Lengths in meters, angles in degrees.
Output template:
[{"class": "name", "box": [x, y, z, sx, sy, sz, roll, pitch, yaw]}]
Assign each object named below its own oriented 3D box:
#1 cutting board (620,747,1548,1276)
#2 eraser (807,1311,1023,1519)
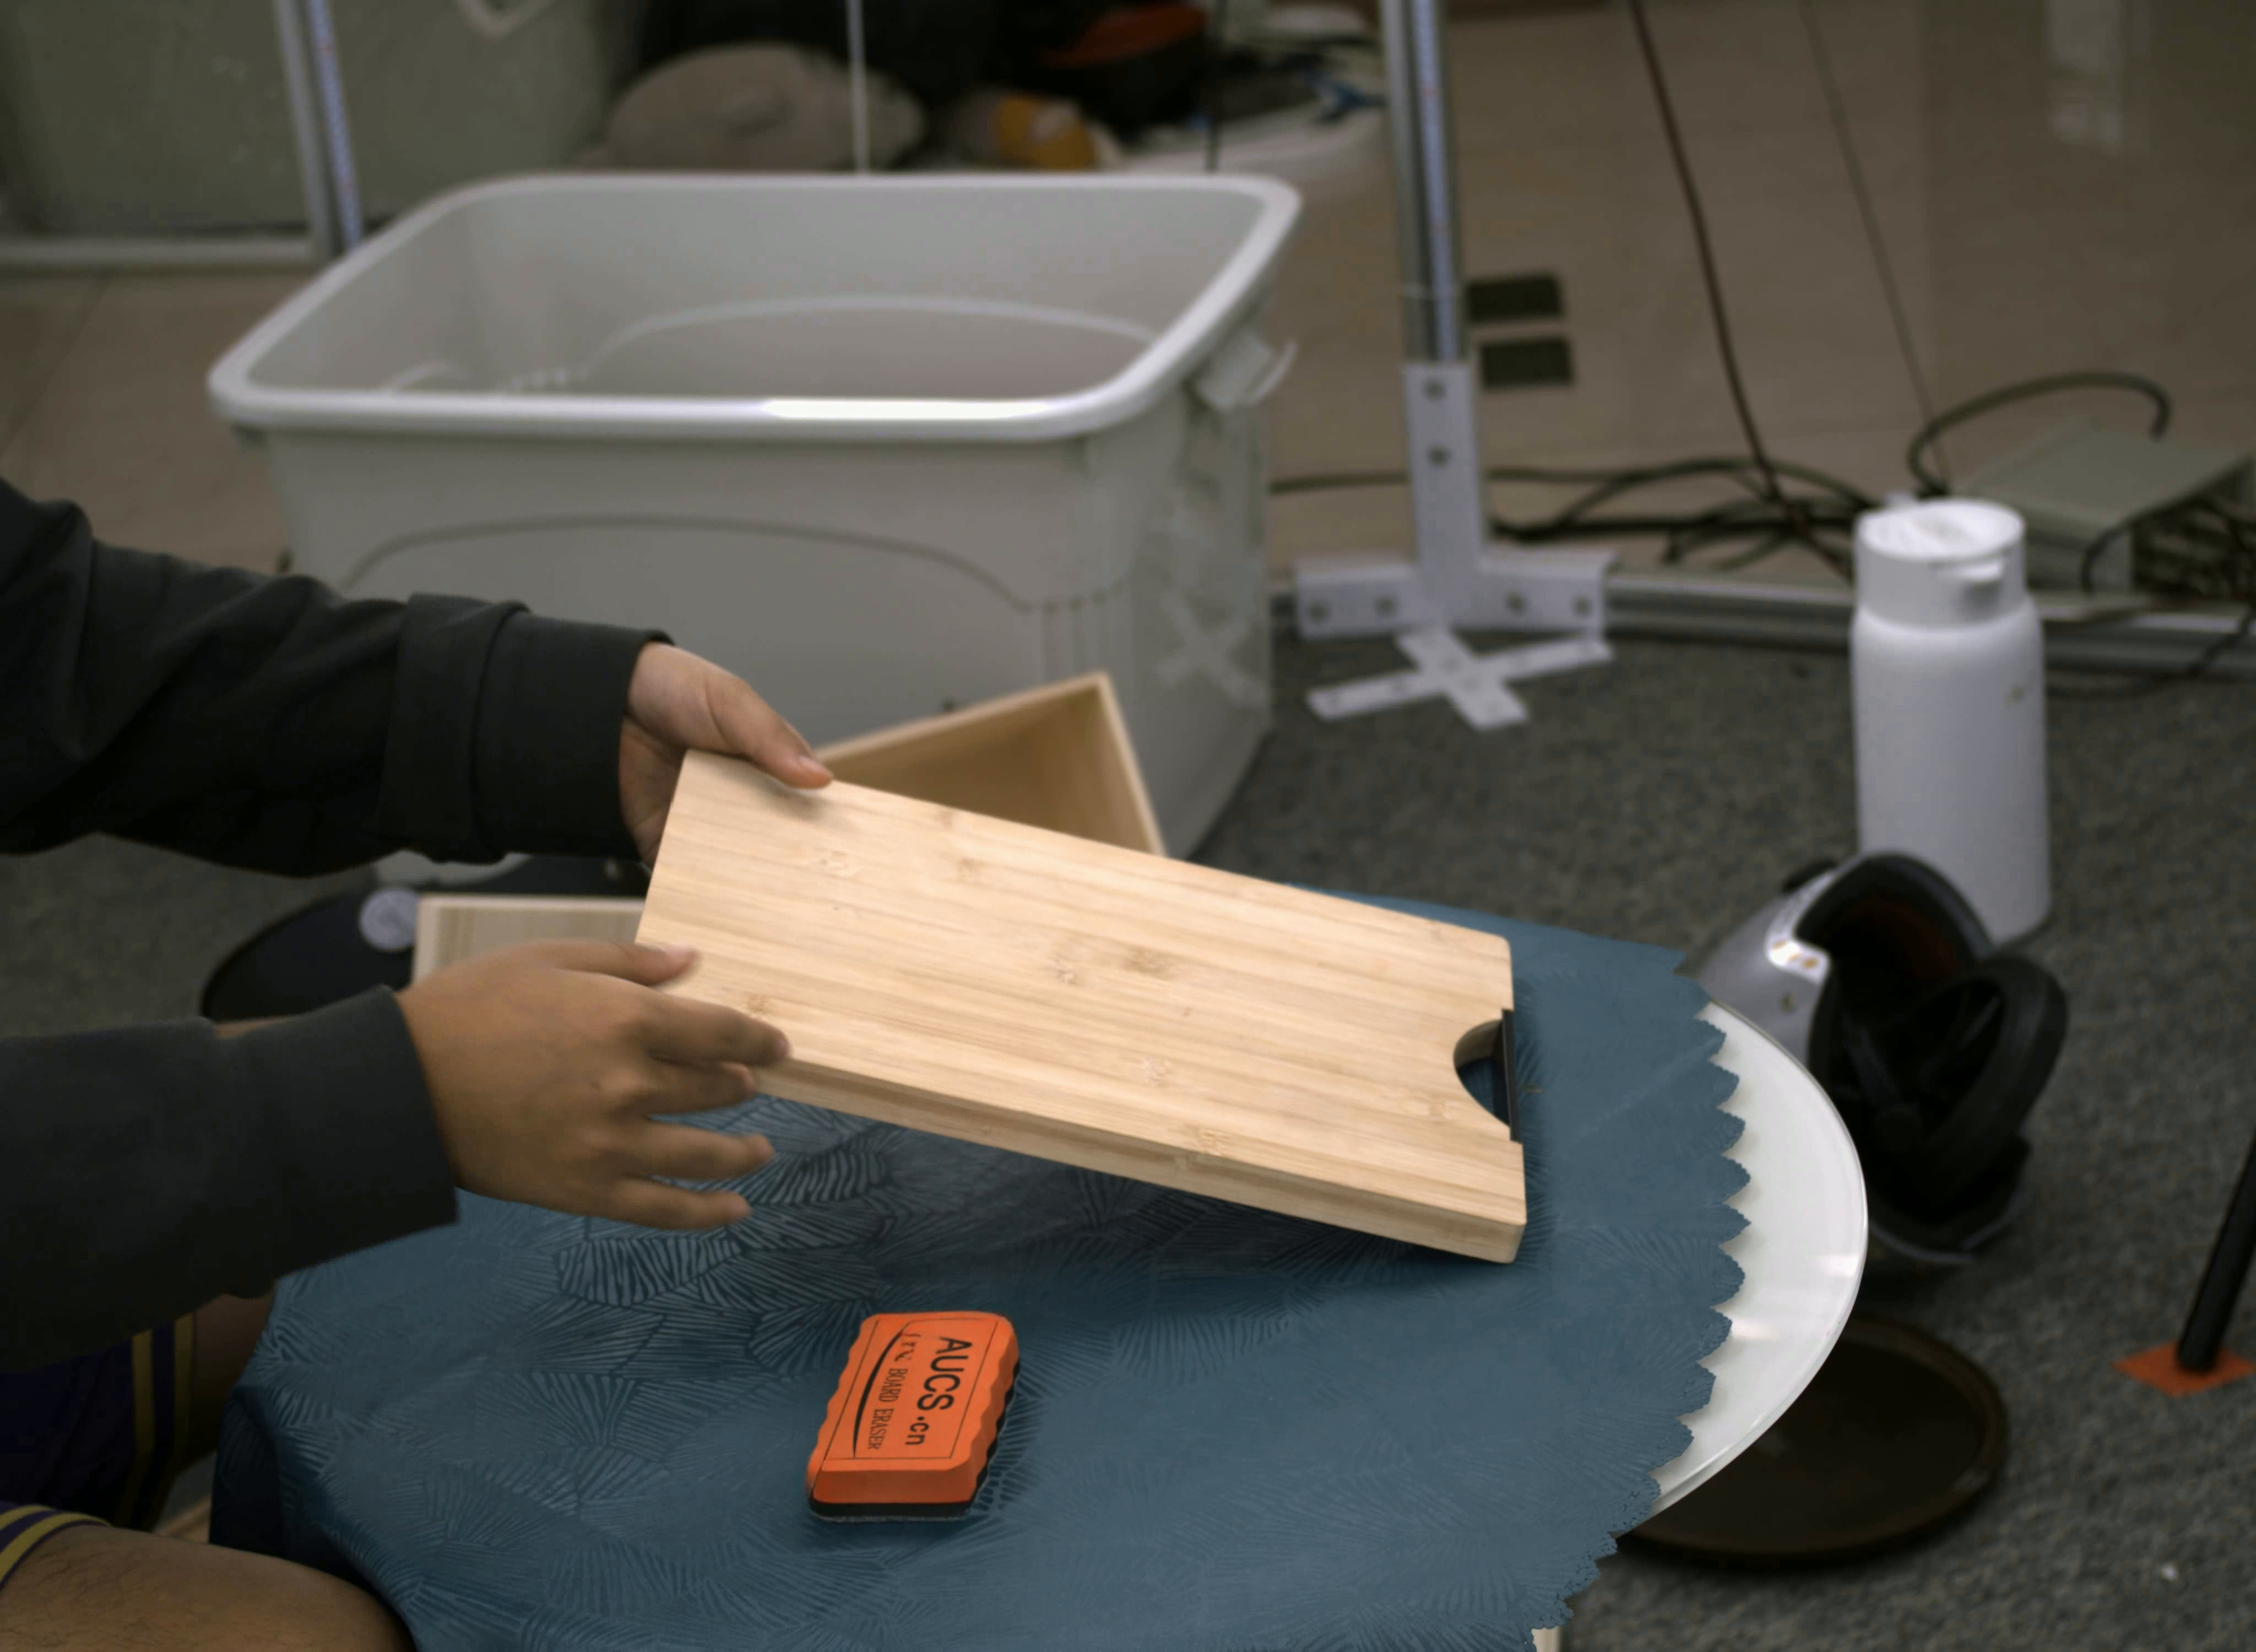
[{"class": "cutting board", "box": [-0.012, 0.066, 2.155, 0.348, 0.024, 0.247, 13, 25, -5]}, {"class": "eraser", "box": [-0.074, 0.206, 1.992, 0.059, 0.023, 0.106, -1, 25, 11]}]
